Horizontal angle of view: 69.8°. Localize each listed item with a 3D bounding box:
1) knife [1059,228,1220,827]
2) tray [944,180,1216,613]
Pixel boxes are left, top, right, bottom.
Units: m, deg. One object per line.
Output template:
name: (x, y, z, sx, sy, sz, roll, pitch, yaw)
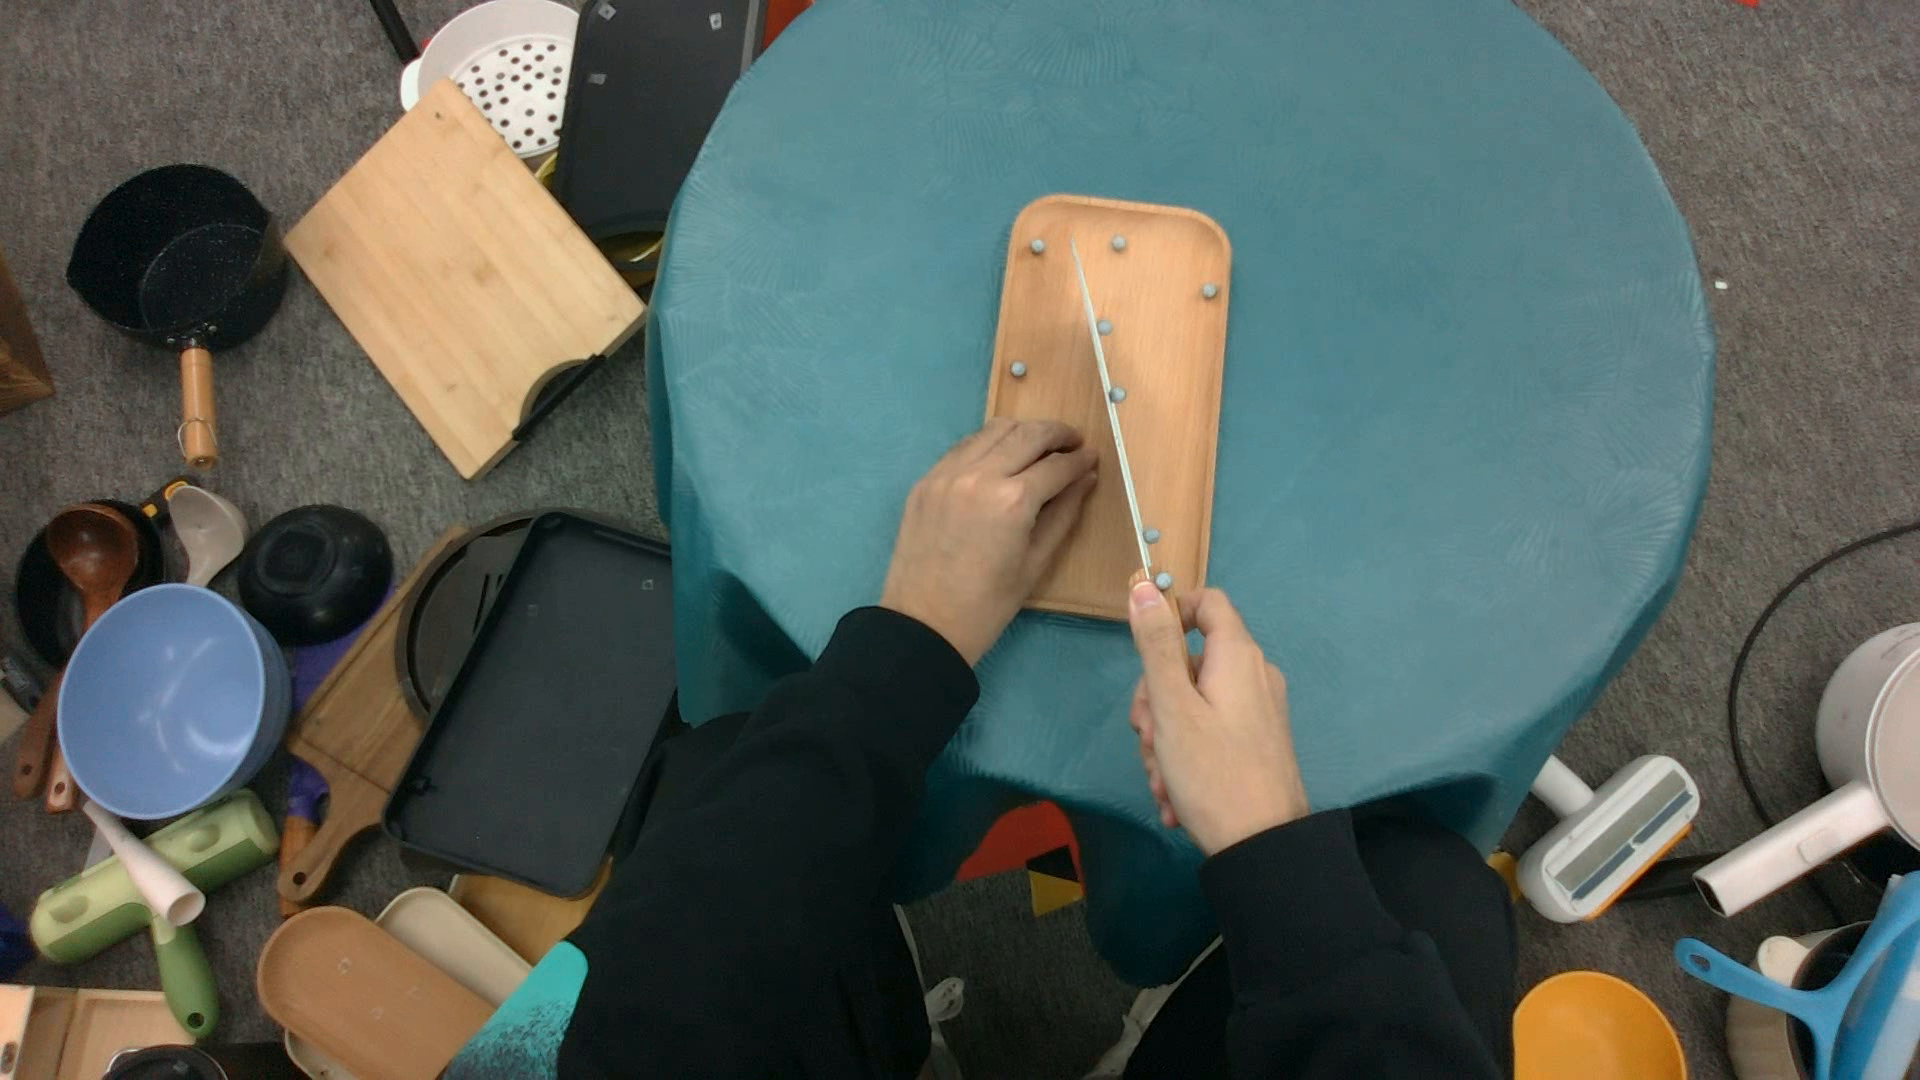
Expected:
knife: (0.083, -0.008, 0.674, 0.021, 0.093, 0.306, -13, 68, 7)
tray: (0.069, -0.083, 0.756, 0.130, 0.023, 0.251, 8, 71, 4)
